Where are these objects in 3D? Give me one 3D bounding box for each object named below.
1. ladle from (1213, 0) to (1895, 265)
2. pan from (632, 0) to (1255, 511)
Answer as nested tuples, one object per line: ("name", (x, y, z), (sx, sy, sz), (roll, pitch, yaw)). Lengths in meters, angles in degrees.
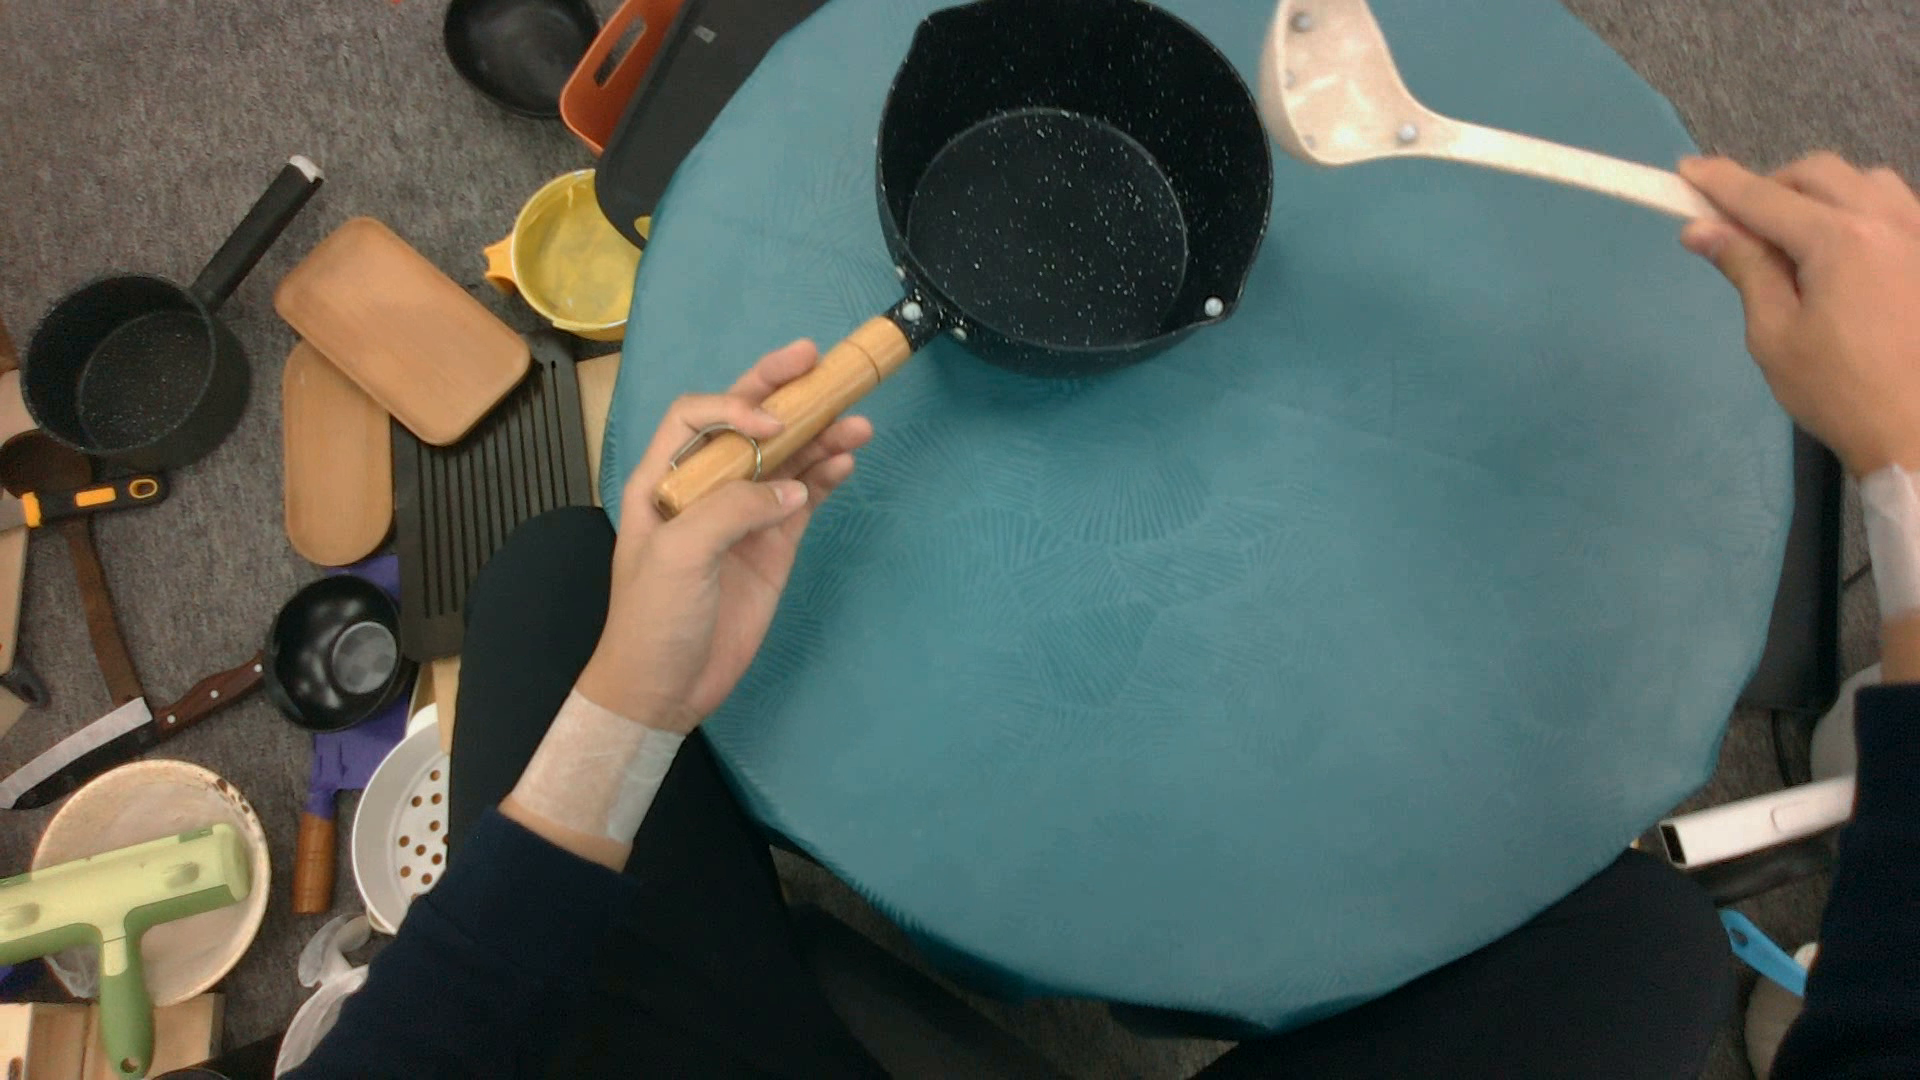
("ladle", (0.235, -0.169, 0.543), (0.274, 0.069, 0.090), (17, 51, 14))
("pan", (-0.012, -0.122, 0.638), (0.207, 0.108, 0.344), (44, 74, 2))
